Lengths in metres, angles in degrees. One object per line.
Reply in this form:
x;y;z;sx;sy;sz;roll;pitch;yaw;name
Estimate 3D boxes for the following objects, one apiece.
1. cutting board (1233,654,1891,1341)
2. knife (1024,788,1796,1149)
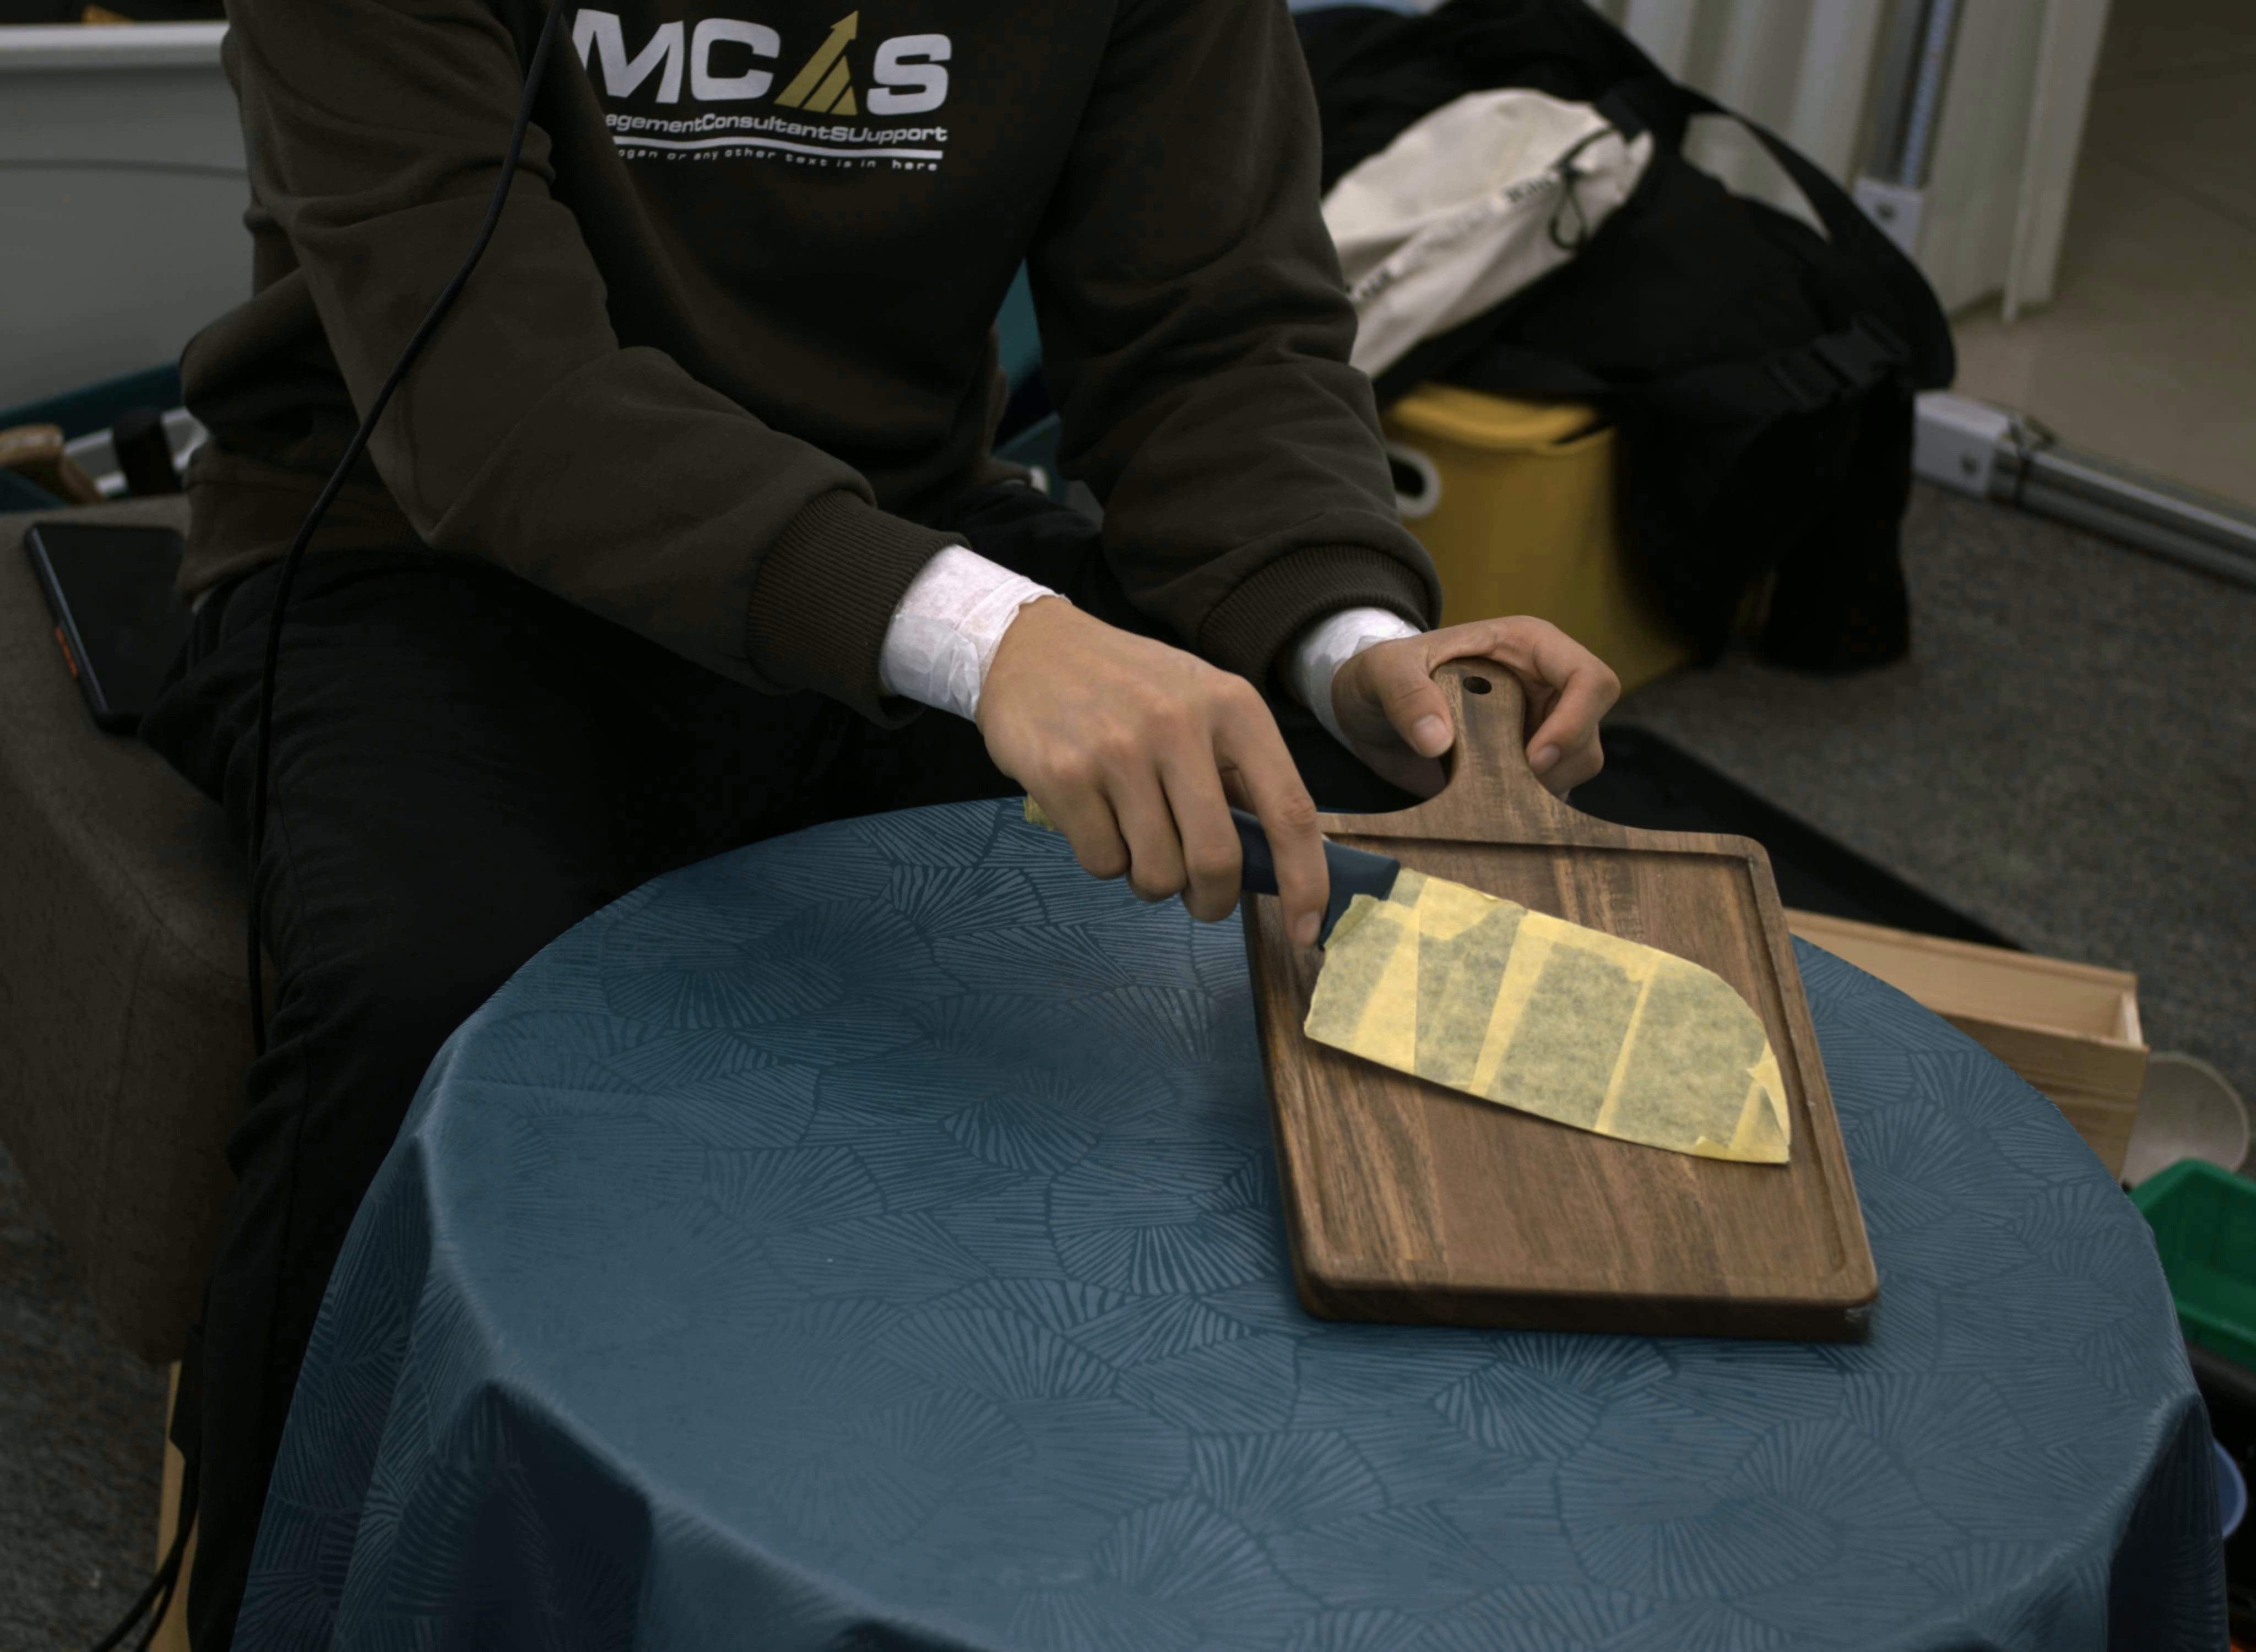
0.141;0.052;1.883;0.200;0.023;0.355;3;38;-8;cutting board
0.093;0.048;1.837;0.290;0.027;0.081;20;64;10;knife
